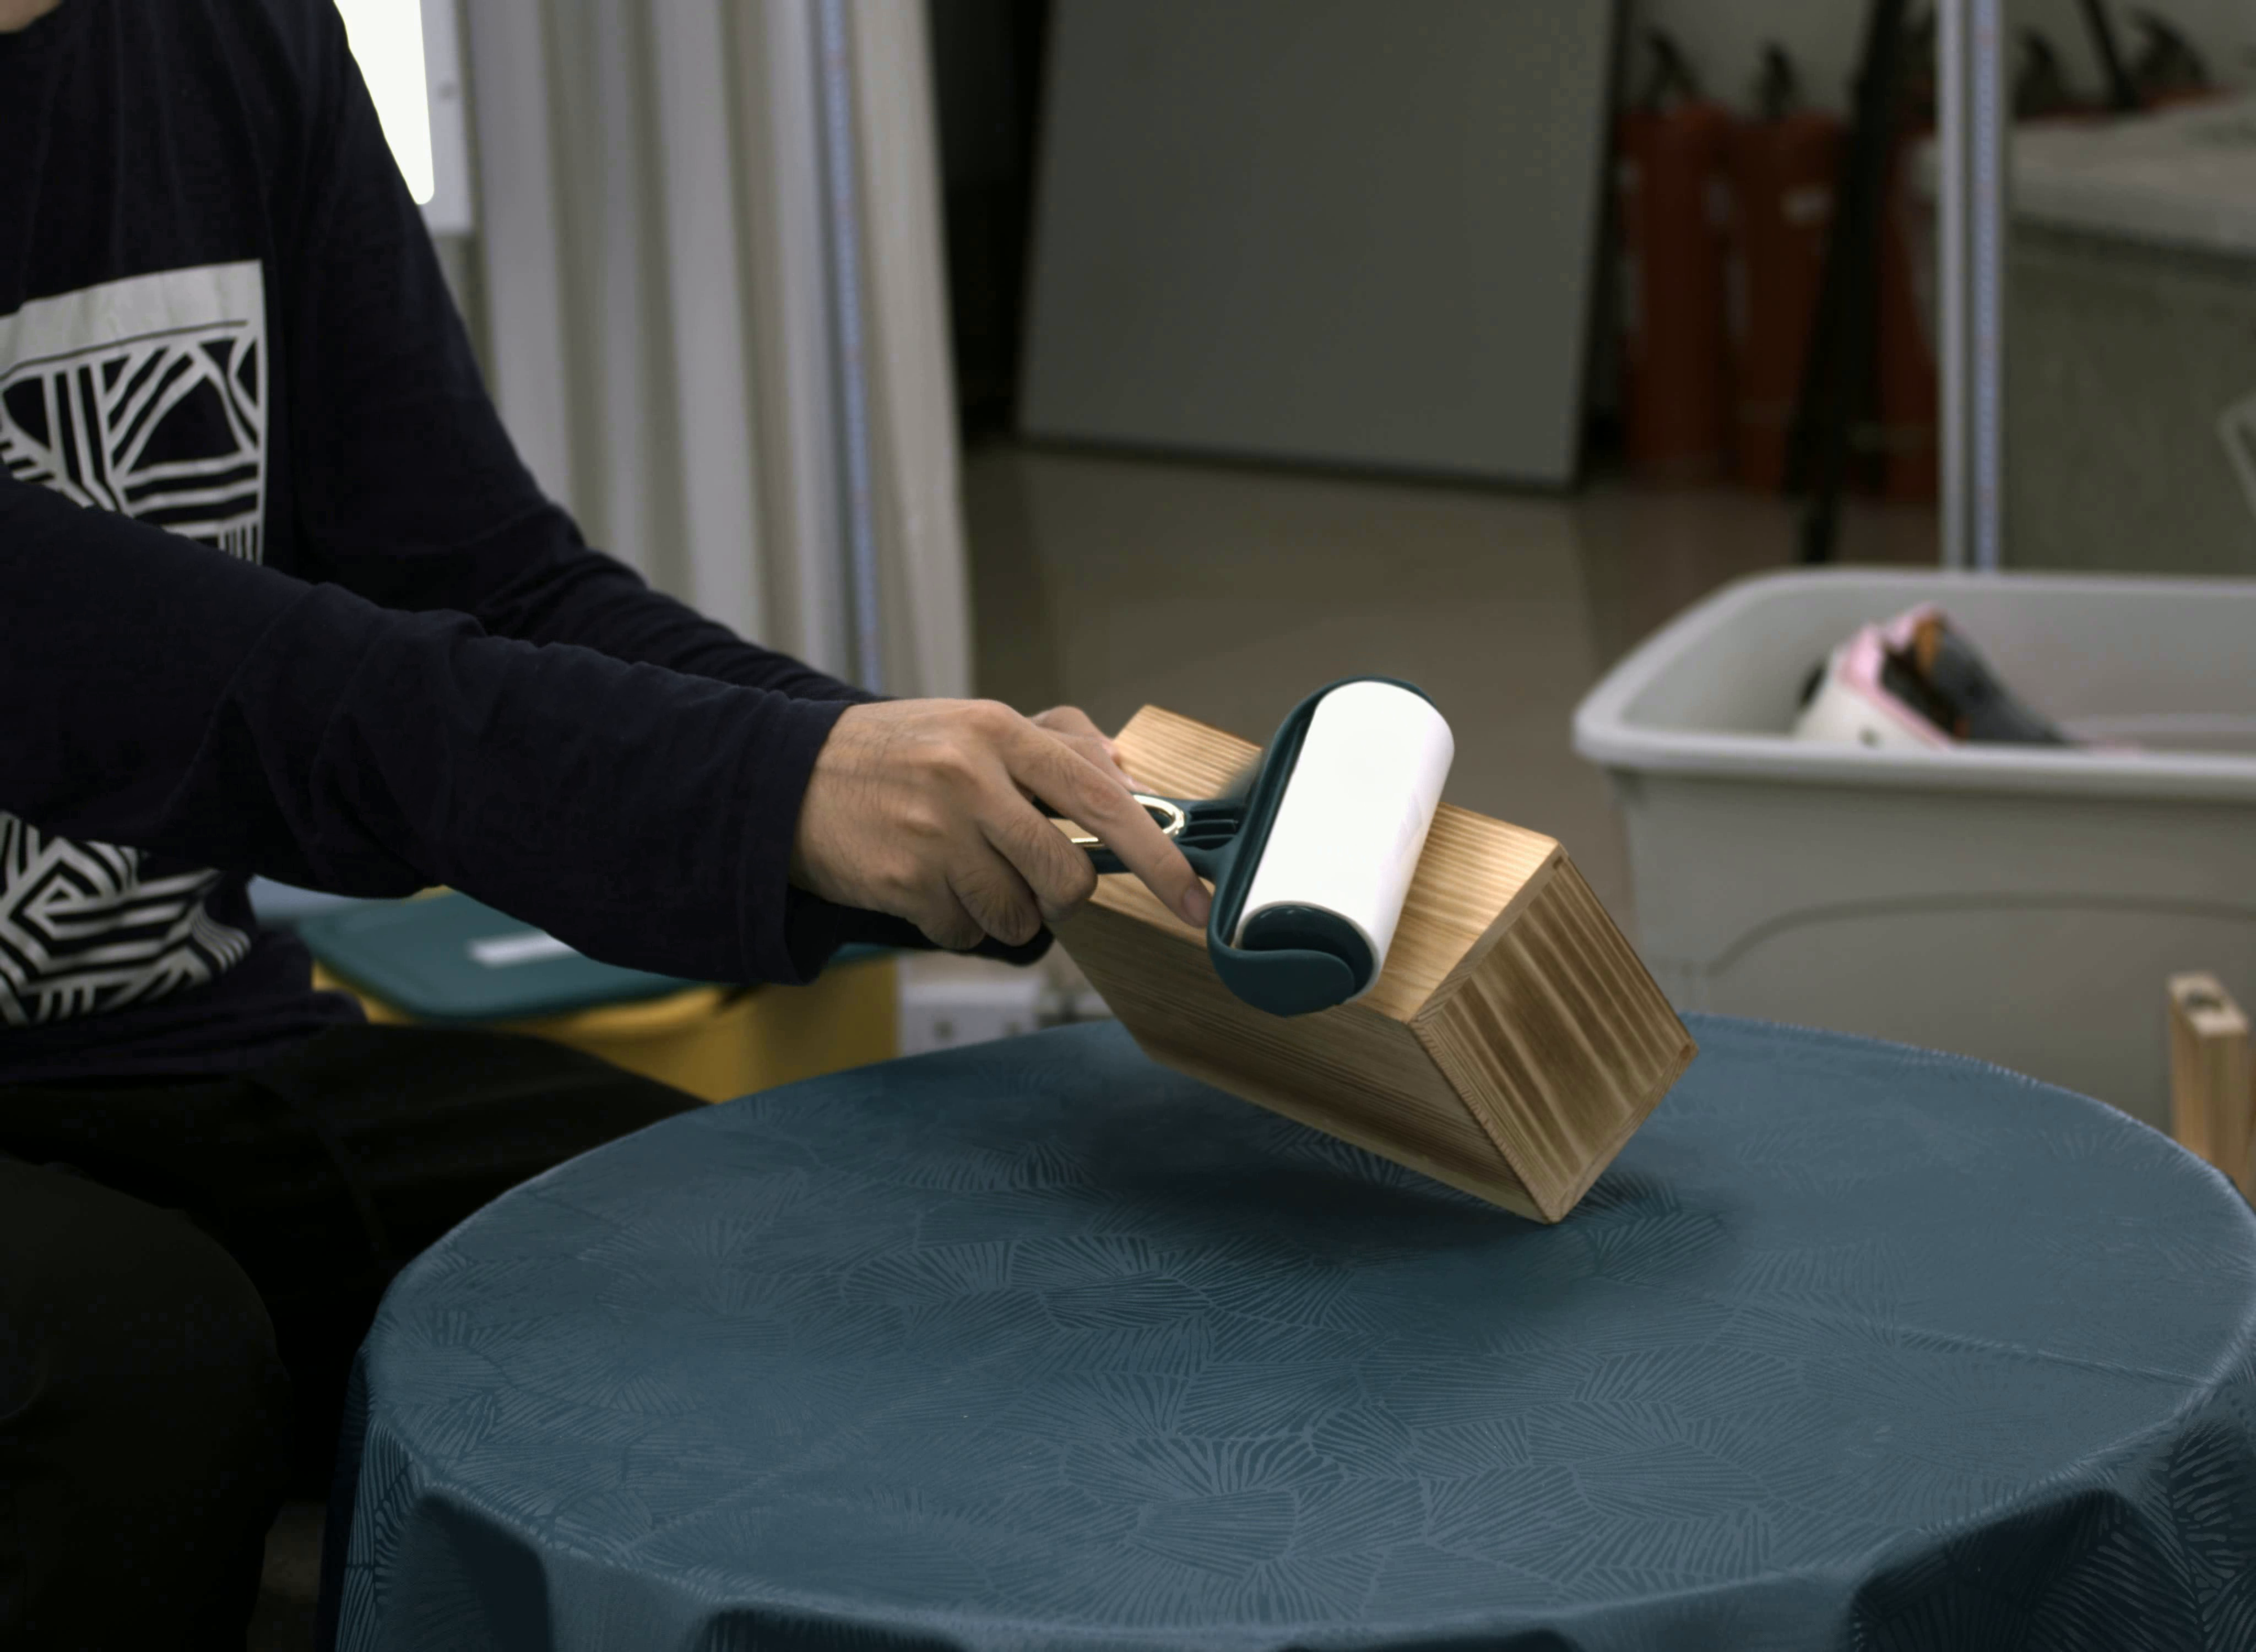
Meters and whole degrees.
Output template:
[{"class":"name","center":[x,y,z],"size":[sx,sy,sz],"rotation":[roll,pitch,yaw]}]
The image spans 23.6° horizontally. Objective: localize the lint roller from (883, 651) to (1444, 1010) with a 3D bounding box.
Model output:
[{"class":"lint roller","center":[0.003,-0.003,1.696],"size":[0.180,0.048,0.134],"rotation":[4,46,19]}]

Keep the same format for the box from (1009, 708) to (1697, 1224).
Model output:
[{"class":"box","center":[0.071,0.043,1.770],"size":[0.080,0.107,0.213],"rotation":[-49,37,-18]}]
